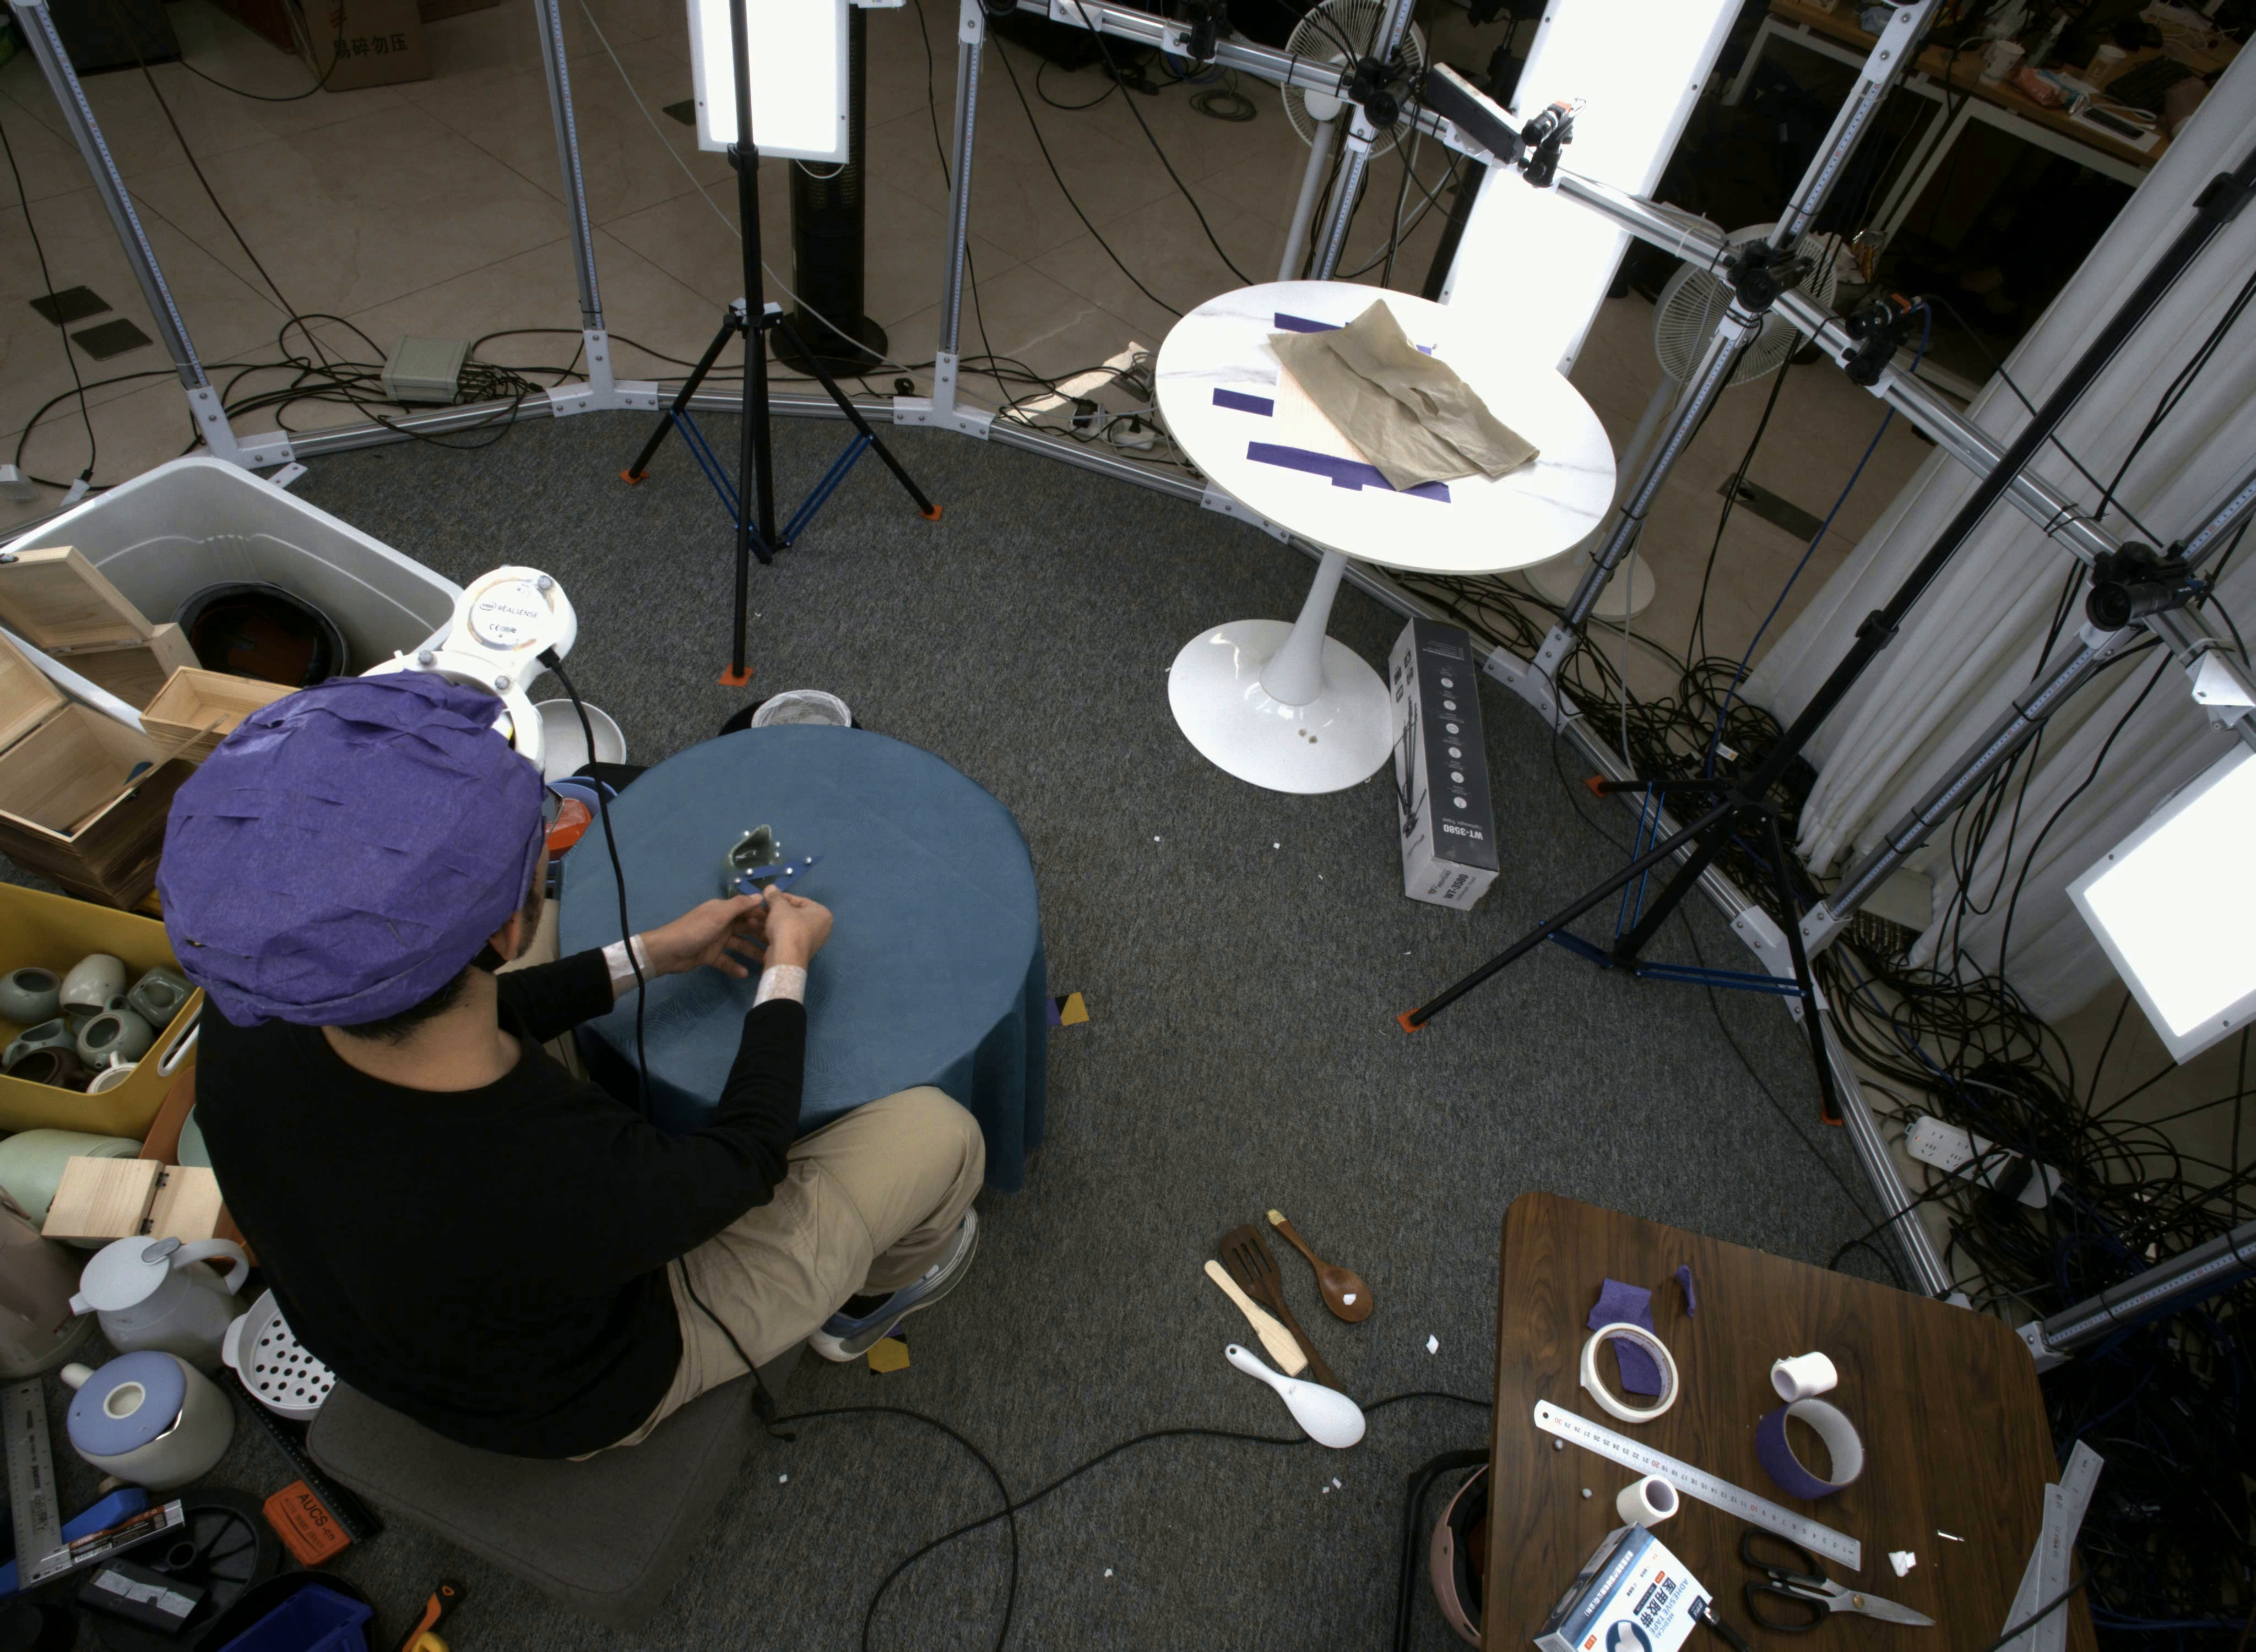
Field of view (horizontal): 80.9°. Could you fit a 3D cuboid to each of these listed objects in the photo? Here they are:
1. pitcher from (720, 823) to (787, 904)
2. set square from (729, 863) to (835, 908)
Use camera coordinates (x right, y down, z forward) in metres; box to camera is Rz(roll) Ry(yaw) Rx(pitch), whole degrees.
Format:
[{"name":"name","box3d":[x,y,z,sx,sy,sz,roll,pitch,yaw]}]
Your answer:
[{"name":"pitcher","box3d":[-0.475,0.054,1.629,0.083,0.057,0.111,14,51,0]},{"name":"set square","box3d":[-0.417,0.071,1.588,0.134,0.006,0.059,-7,53,-35]}]
